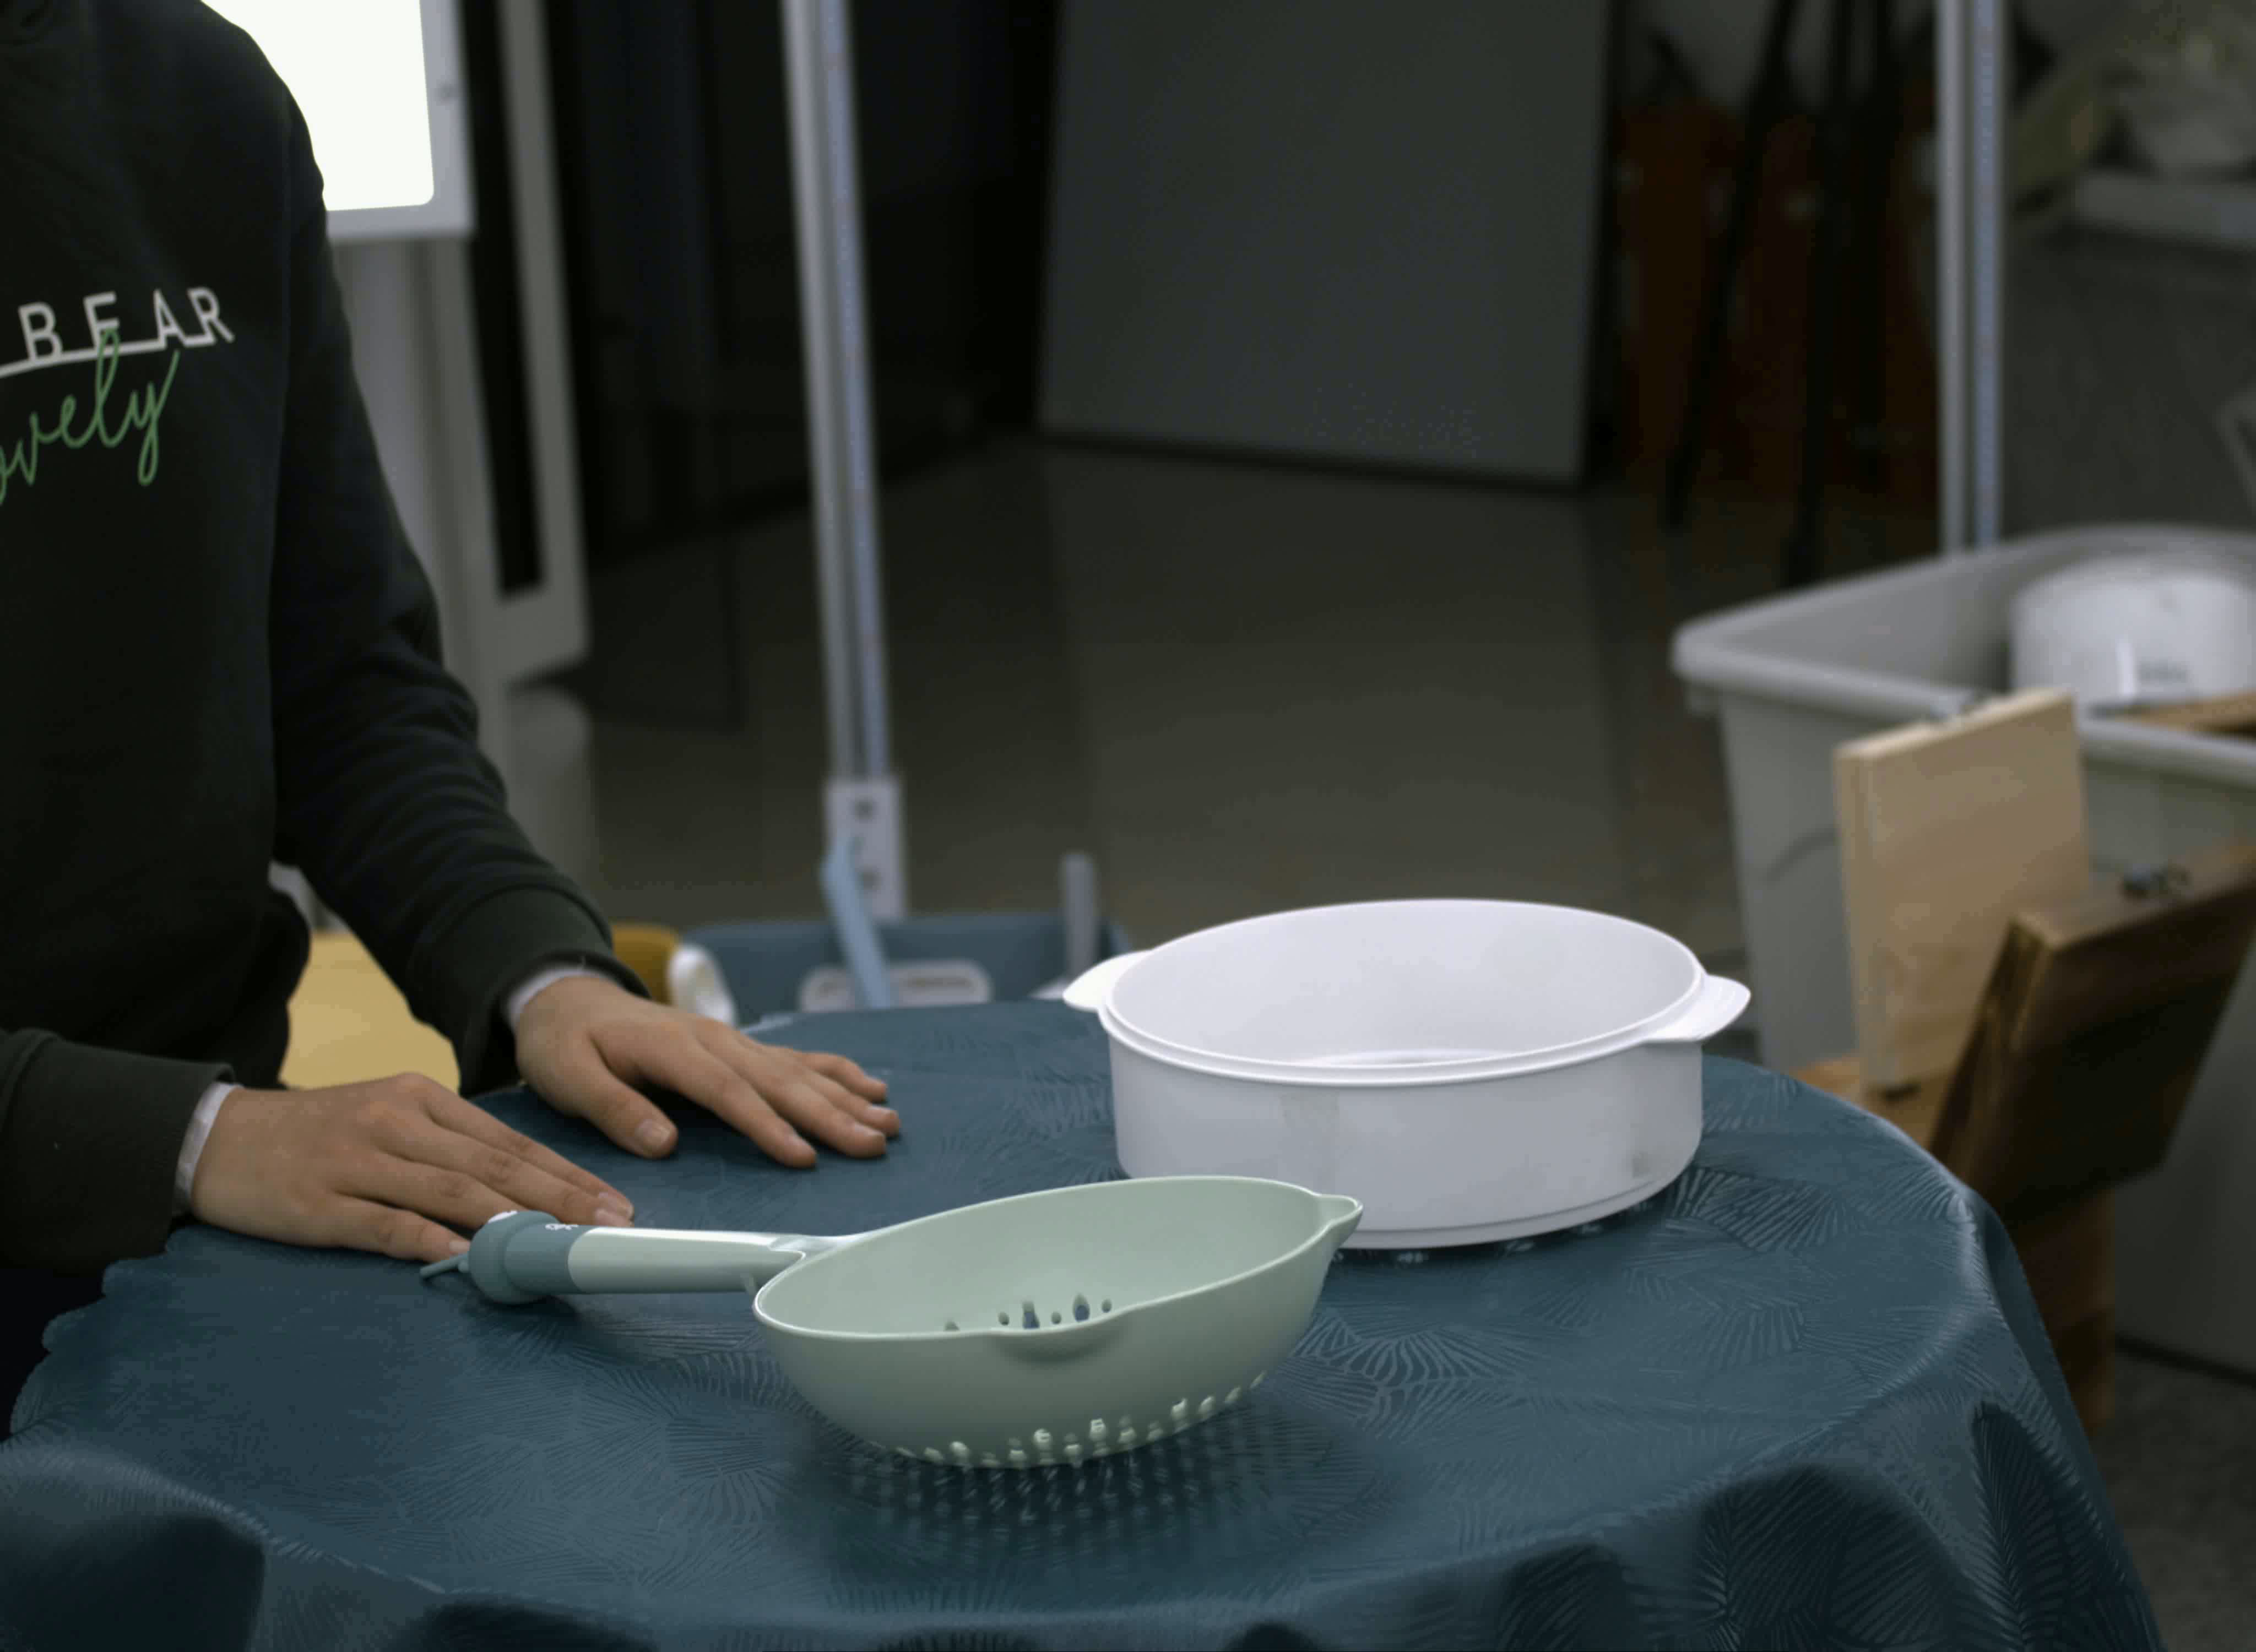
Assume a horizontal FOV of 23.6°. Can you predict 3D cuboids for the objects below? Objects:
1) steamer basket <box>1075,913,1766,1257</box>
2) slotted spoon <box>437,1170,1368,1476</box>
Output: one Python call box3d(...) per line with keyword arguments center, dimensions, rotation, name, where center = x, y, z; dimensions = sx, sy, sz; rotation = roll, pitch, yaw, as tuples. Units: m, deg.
box3d(center=(0.095, 0.084, 1.760), dimensions=(0.230, 0.070, 0.200), rotation=(1, 14, 21), name="steamer basket")
box3d(center=(-0.090, 0.136, 1.604), dimensions=(0.362, 0.076, 0.166), rotation=(9, 18, 43), name="slotted spoon")
